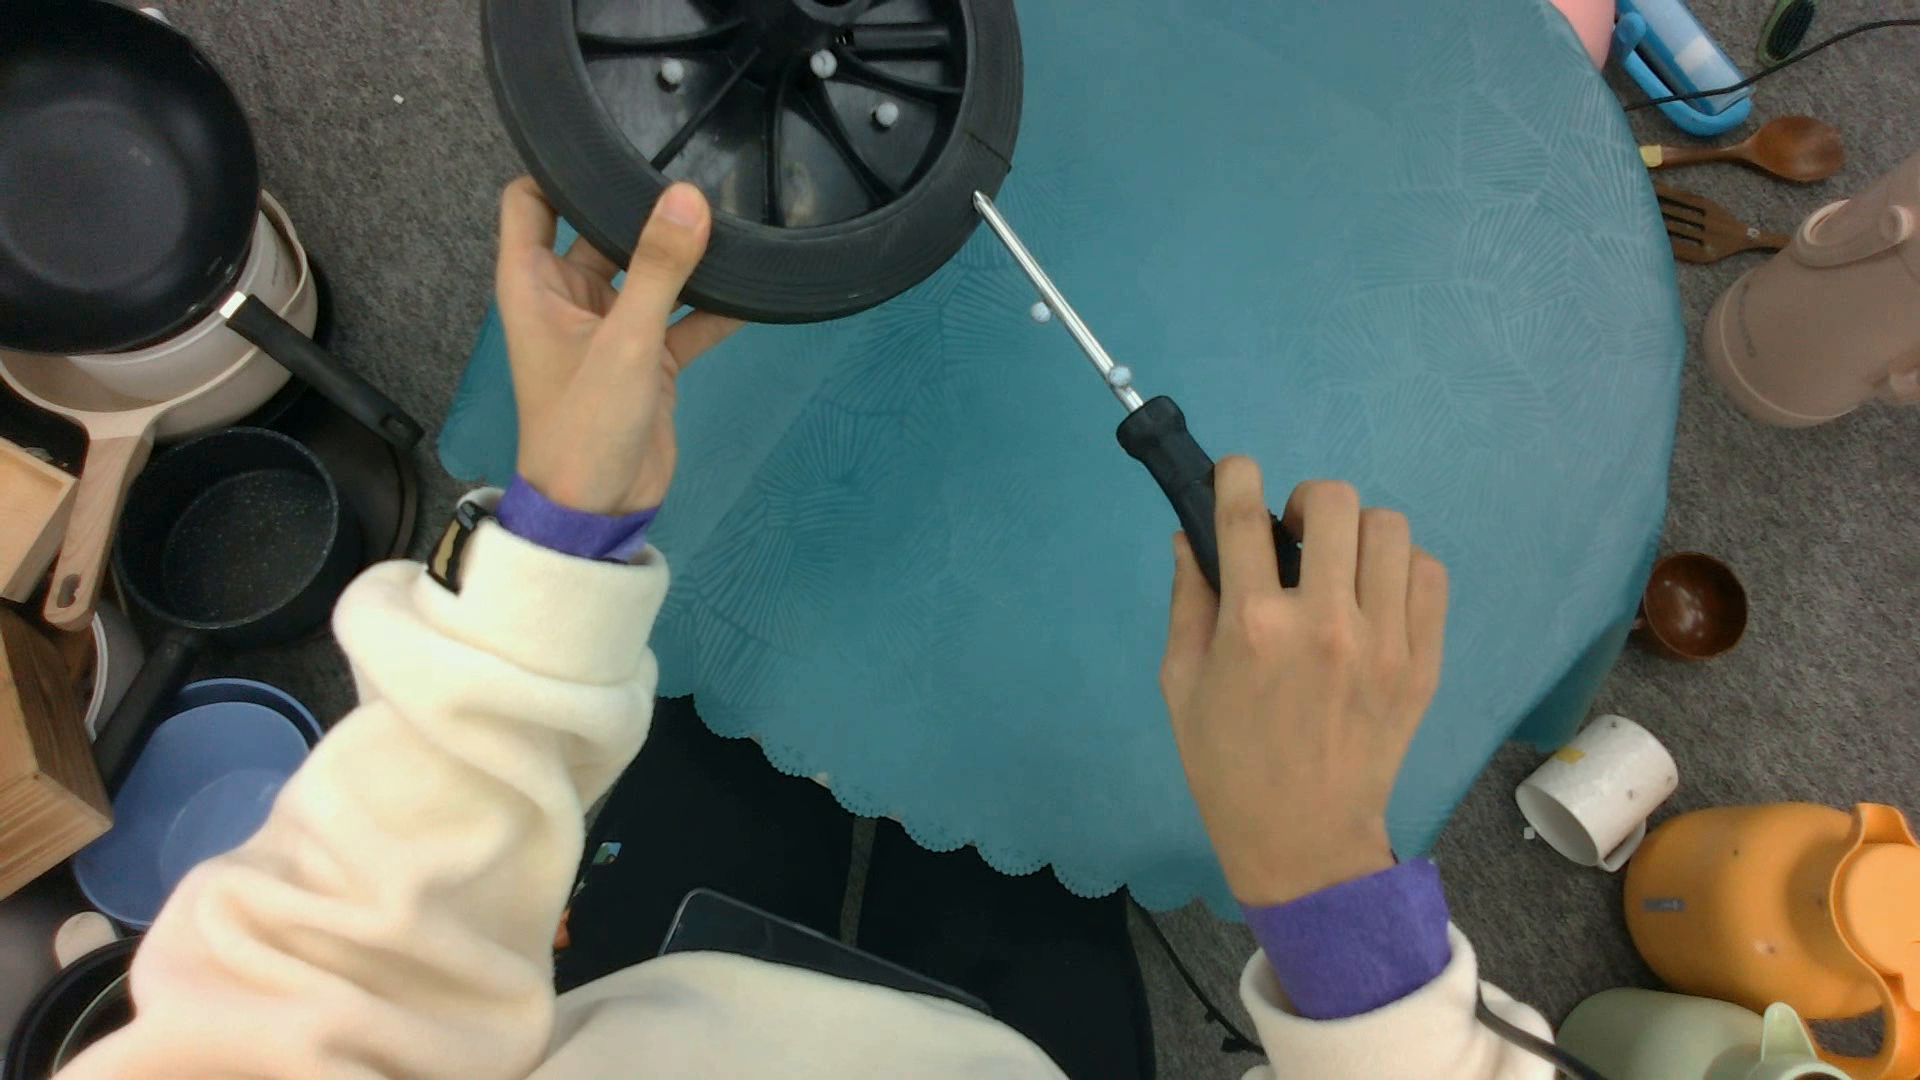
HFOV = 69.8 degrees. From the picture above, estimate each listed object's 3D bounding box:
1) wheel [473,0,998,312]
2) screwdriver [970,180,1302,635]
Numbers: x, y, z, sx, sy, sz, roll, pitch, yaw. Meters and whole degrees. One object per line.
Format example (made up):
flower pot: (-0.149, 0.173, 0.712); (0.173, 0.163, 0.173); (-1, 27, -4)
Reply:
wheel: (-0.061, -0.176, 0.463); (0.190, 0.079, 0.187); (-37, 103, -25)
screwdriver: (0.051, -0.050, 0.473); (0.031, 0.031, 0.196); (-32, 72, -11)
